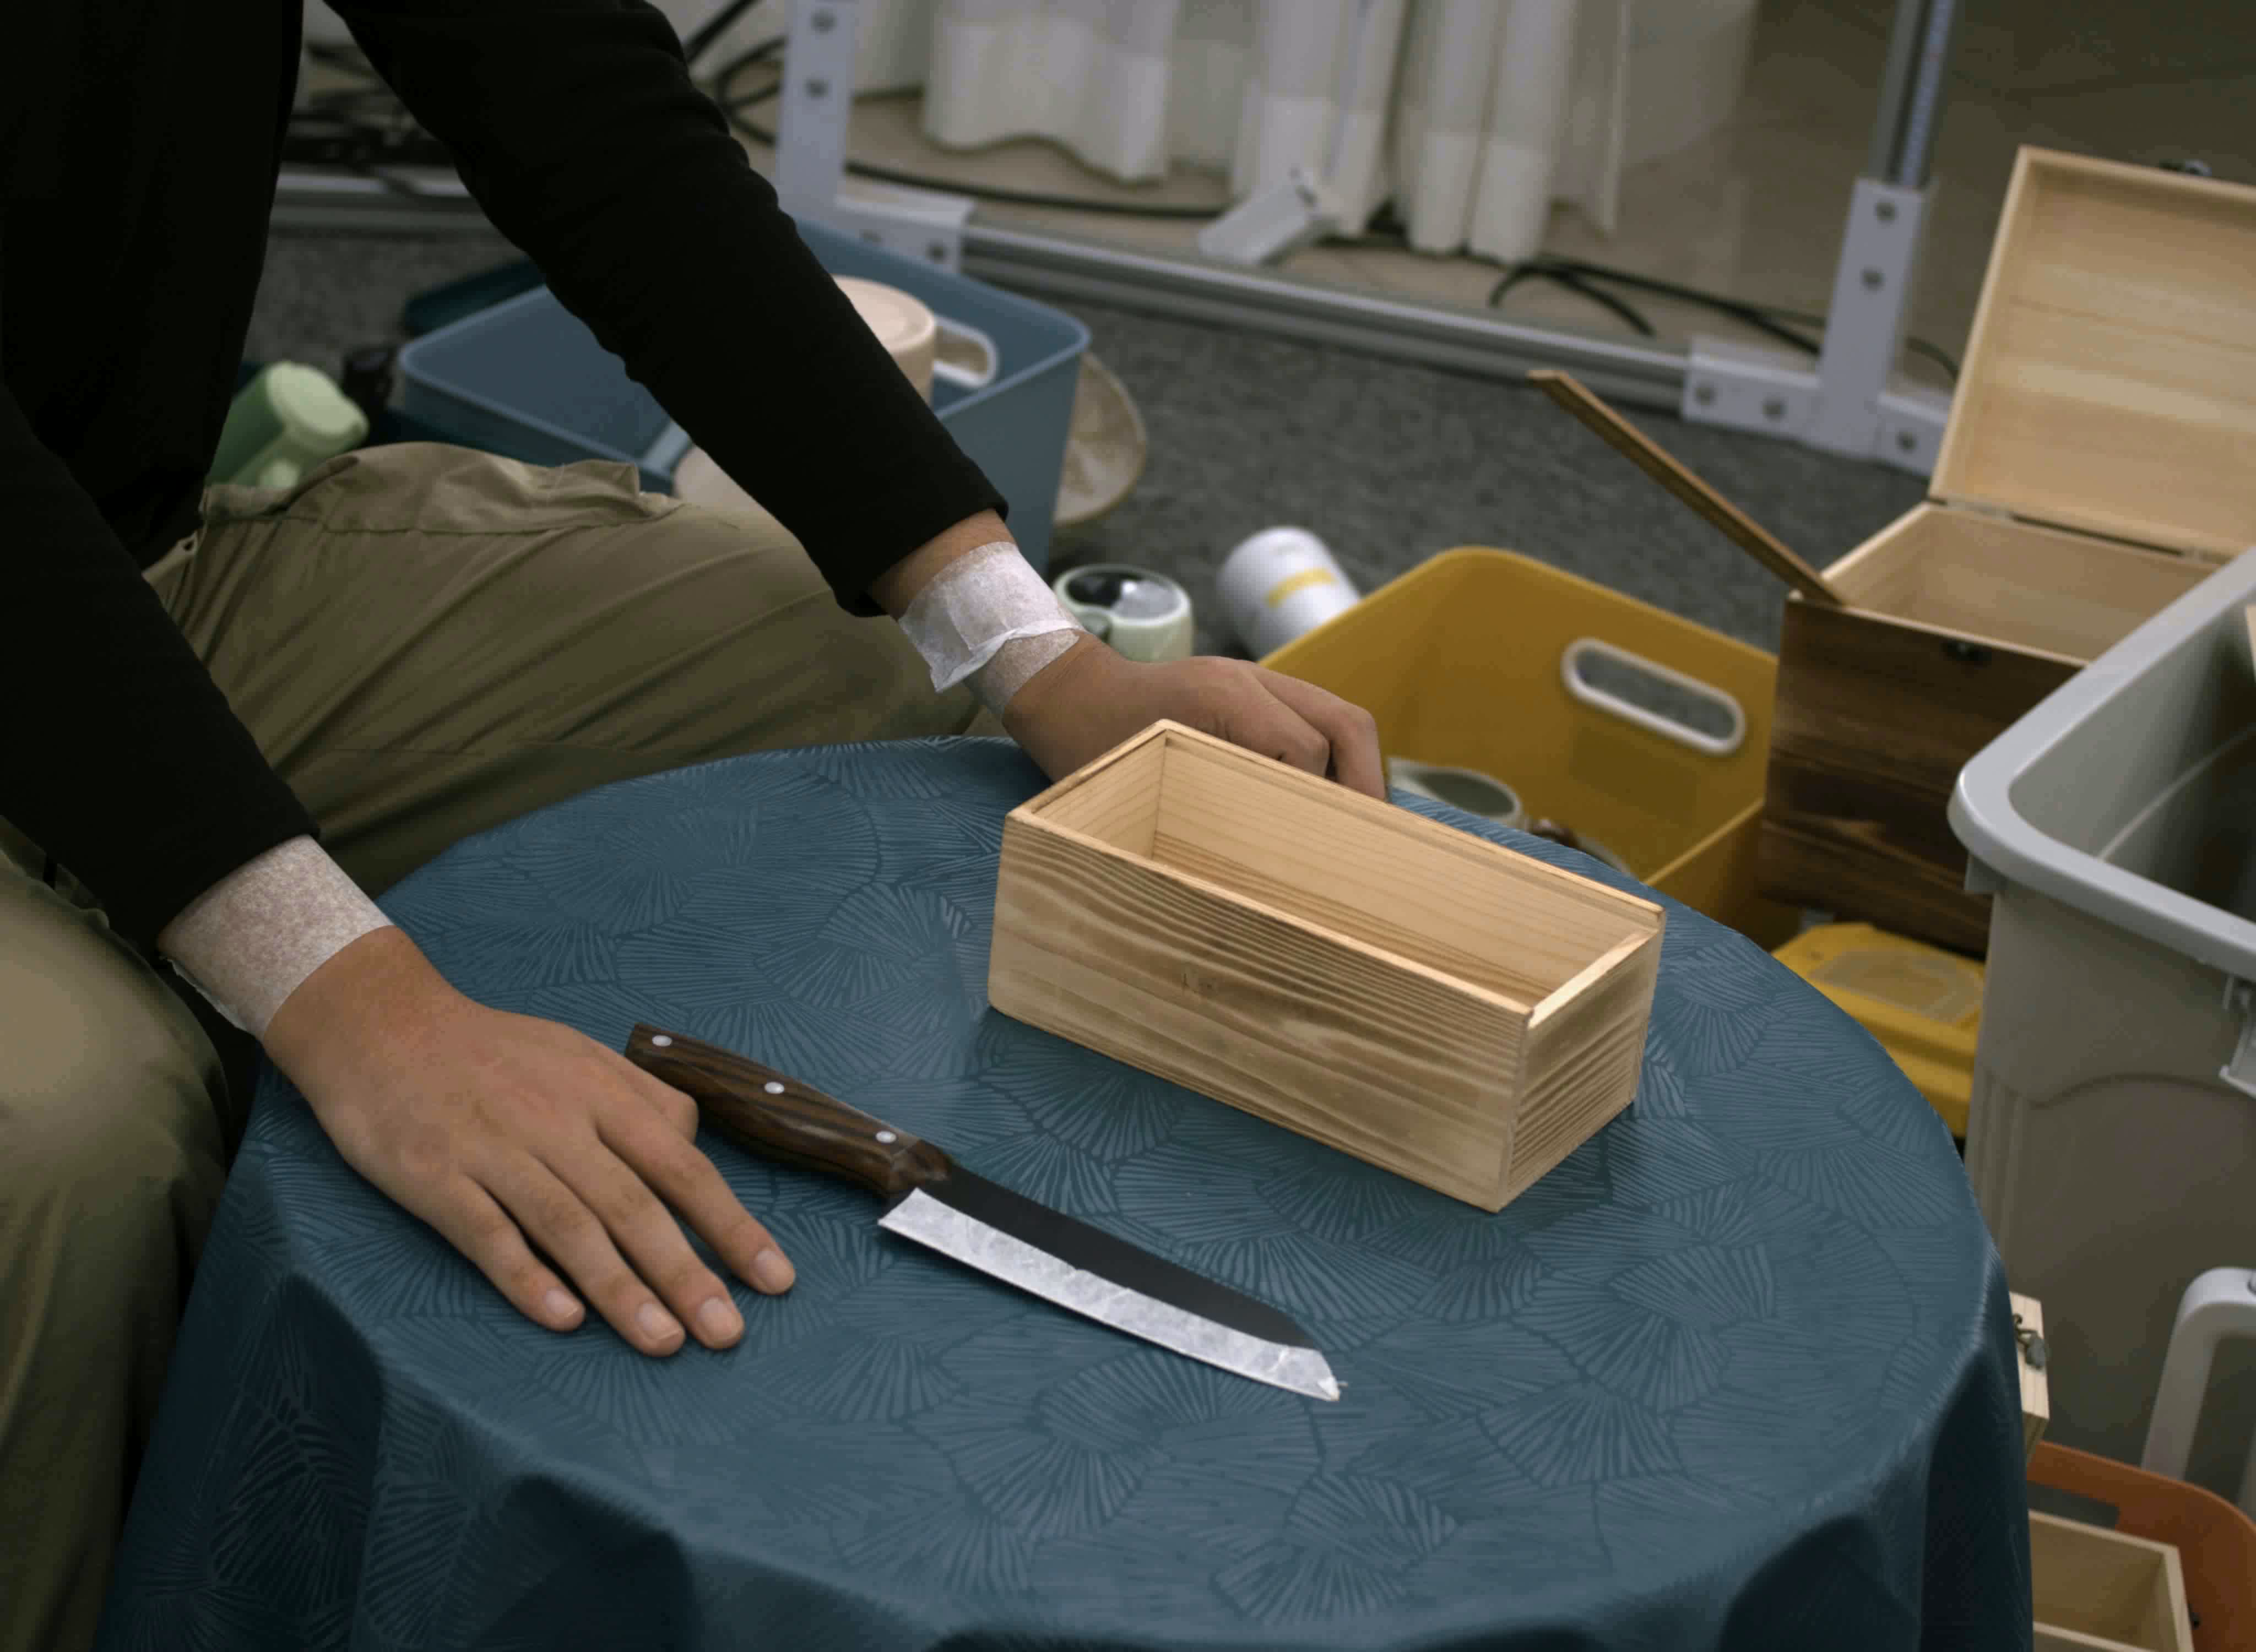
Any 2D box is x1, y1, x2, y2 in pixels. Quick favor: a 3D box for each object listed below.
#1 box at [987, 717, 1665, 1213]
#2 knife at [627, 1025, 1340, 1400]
[{"bbox_3d":[0.068,0.046,1.882,0.212,0.080,0.107,22,30,26],"label":"box"},{"bbox_3d":[-0.052,0.129,1.764,0.290,0.020,0.050,24,36,25],"label":"knife"}]
